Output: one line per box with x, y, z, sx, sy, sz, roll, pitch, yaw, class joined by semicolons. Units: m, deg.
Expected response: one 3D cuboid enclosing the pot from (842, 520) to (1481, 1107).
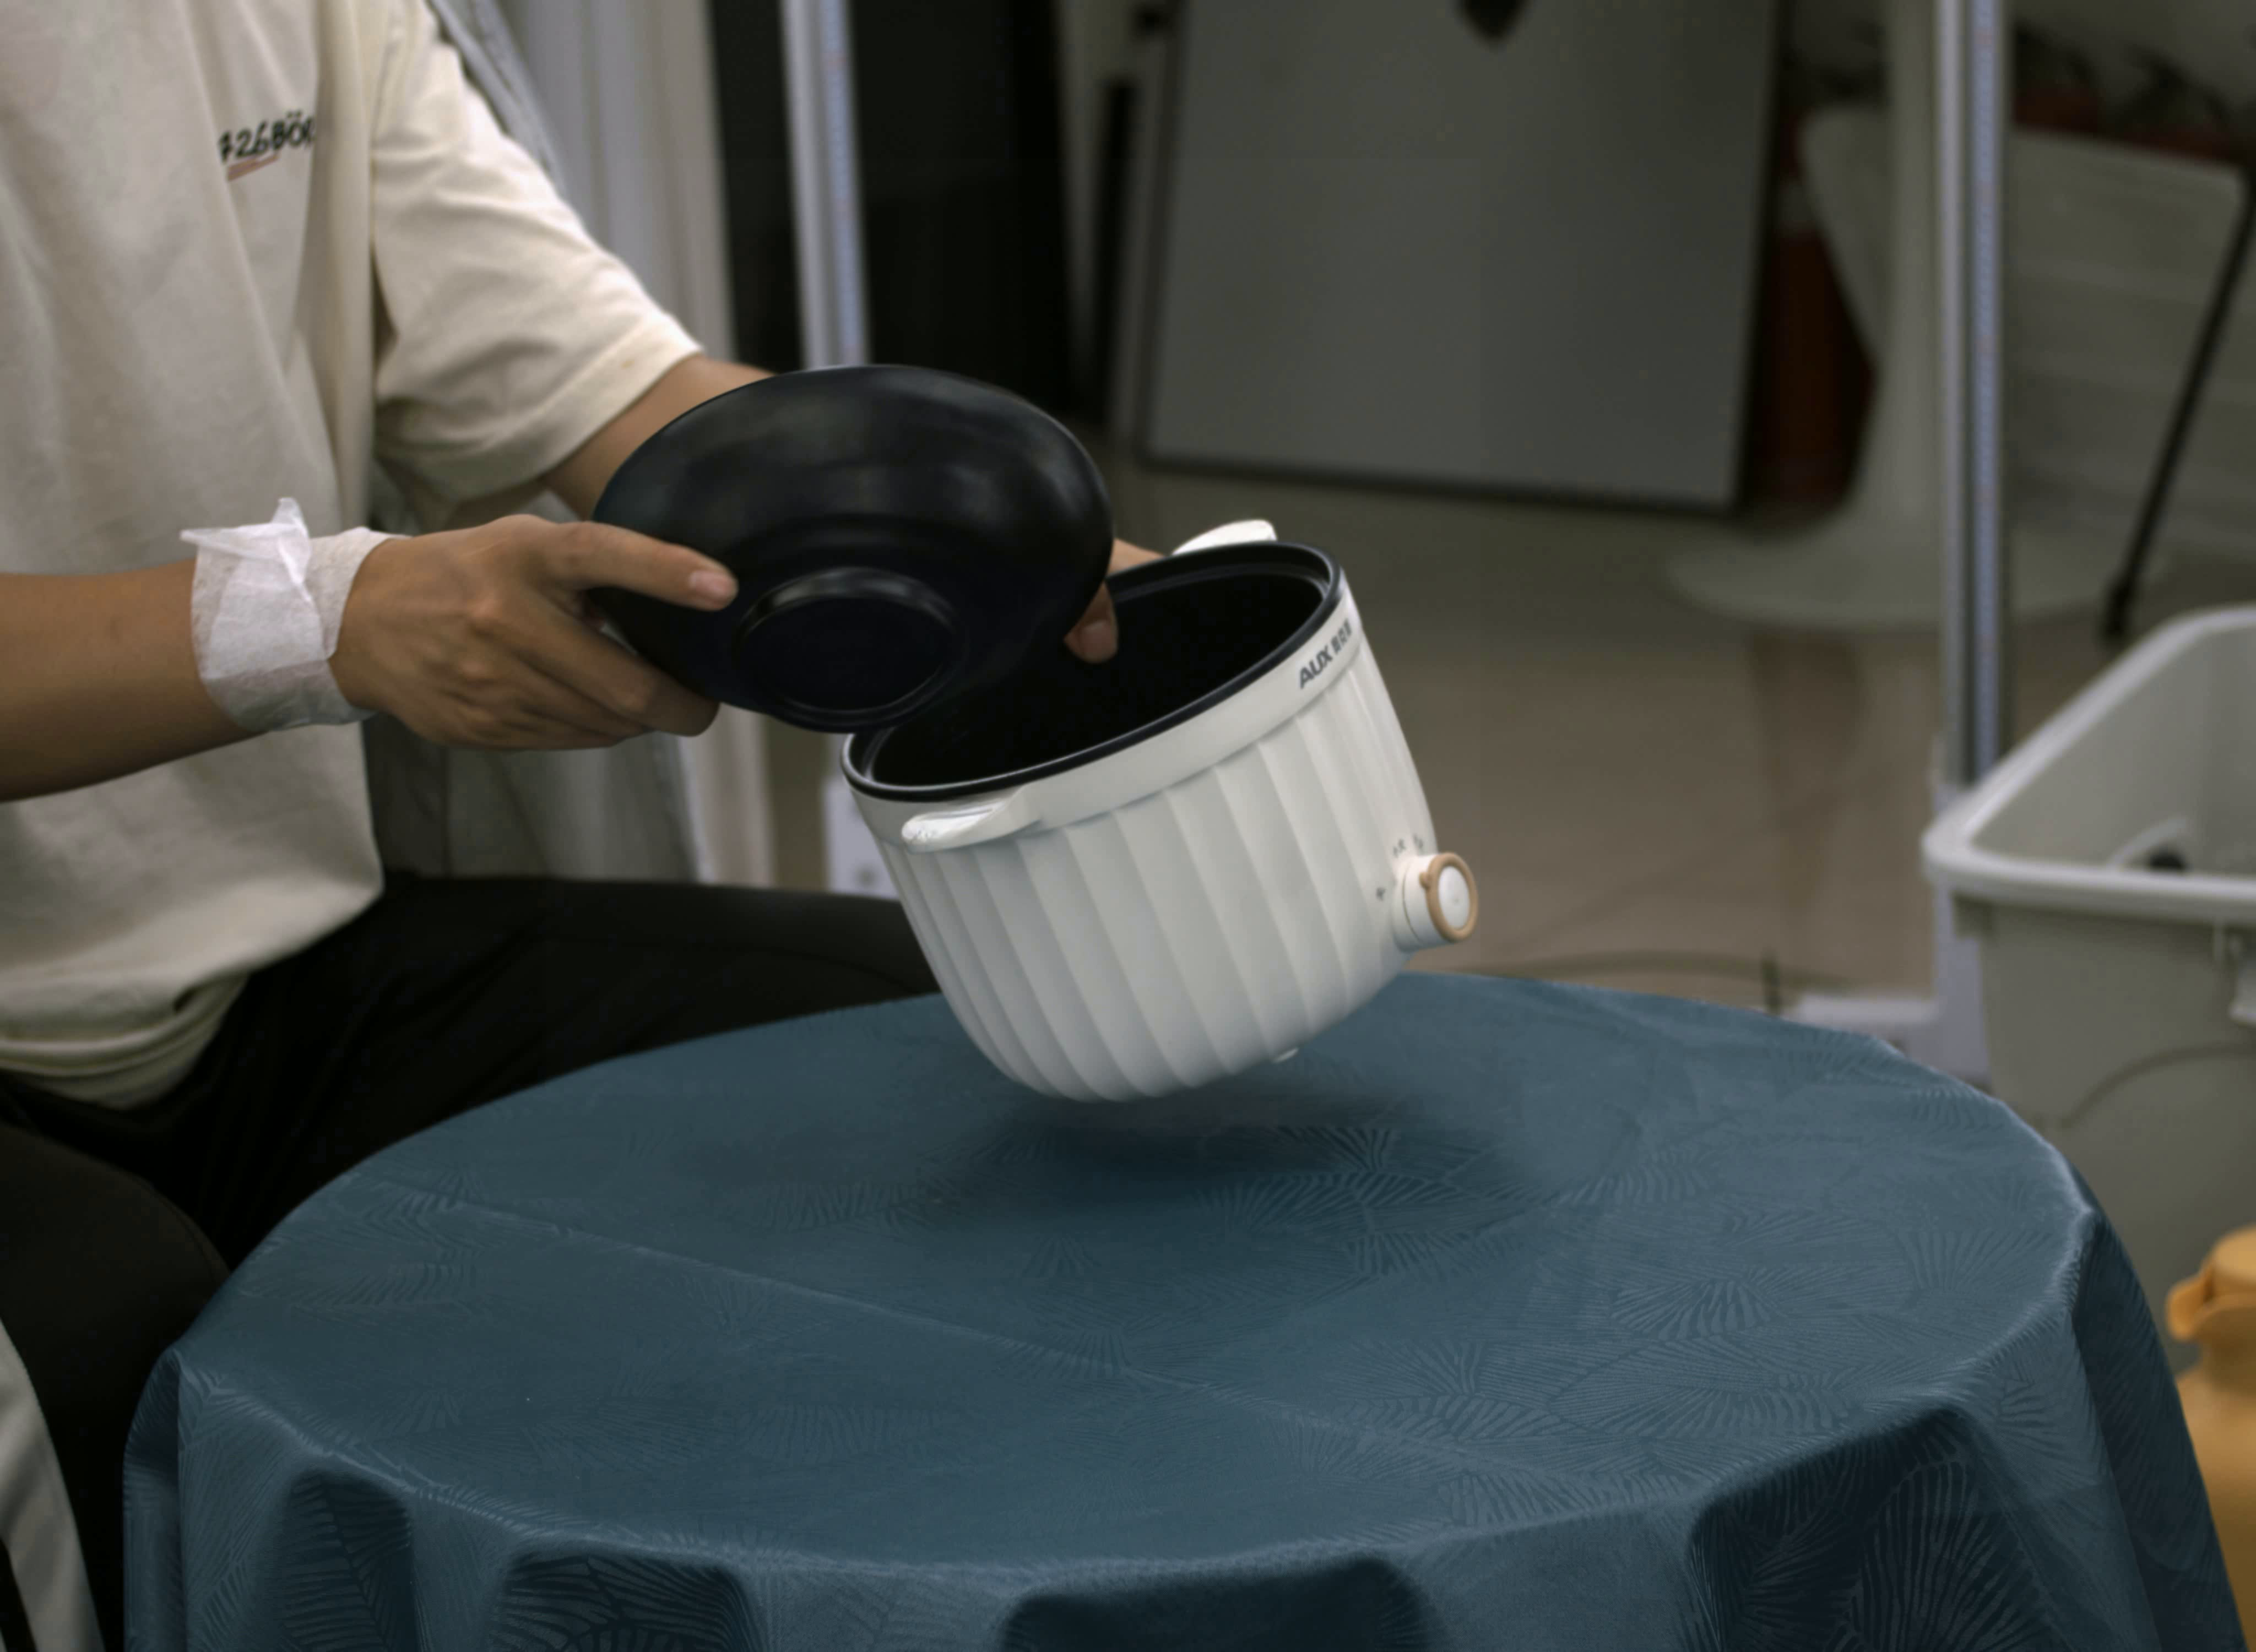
0.017;0.002;1.815;0.191;0.143;0.238;-14;21;34;pot

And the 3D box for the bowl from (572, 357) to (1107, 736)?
-0.088;-0.075;1.677;0.168;0.138;0.067;-2;50;-4;bowl
